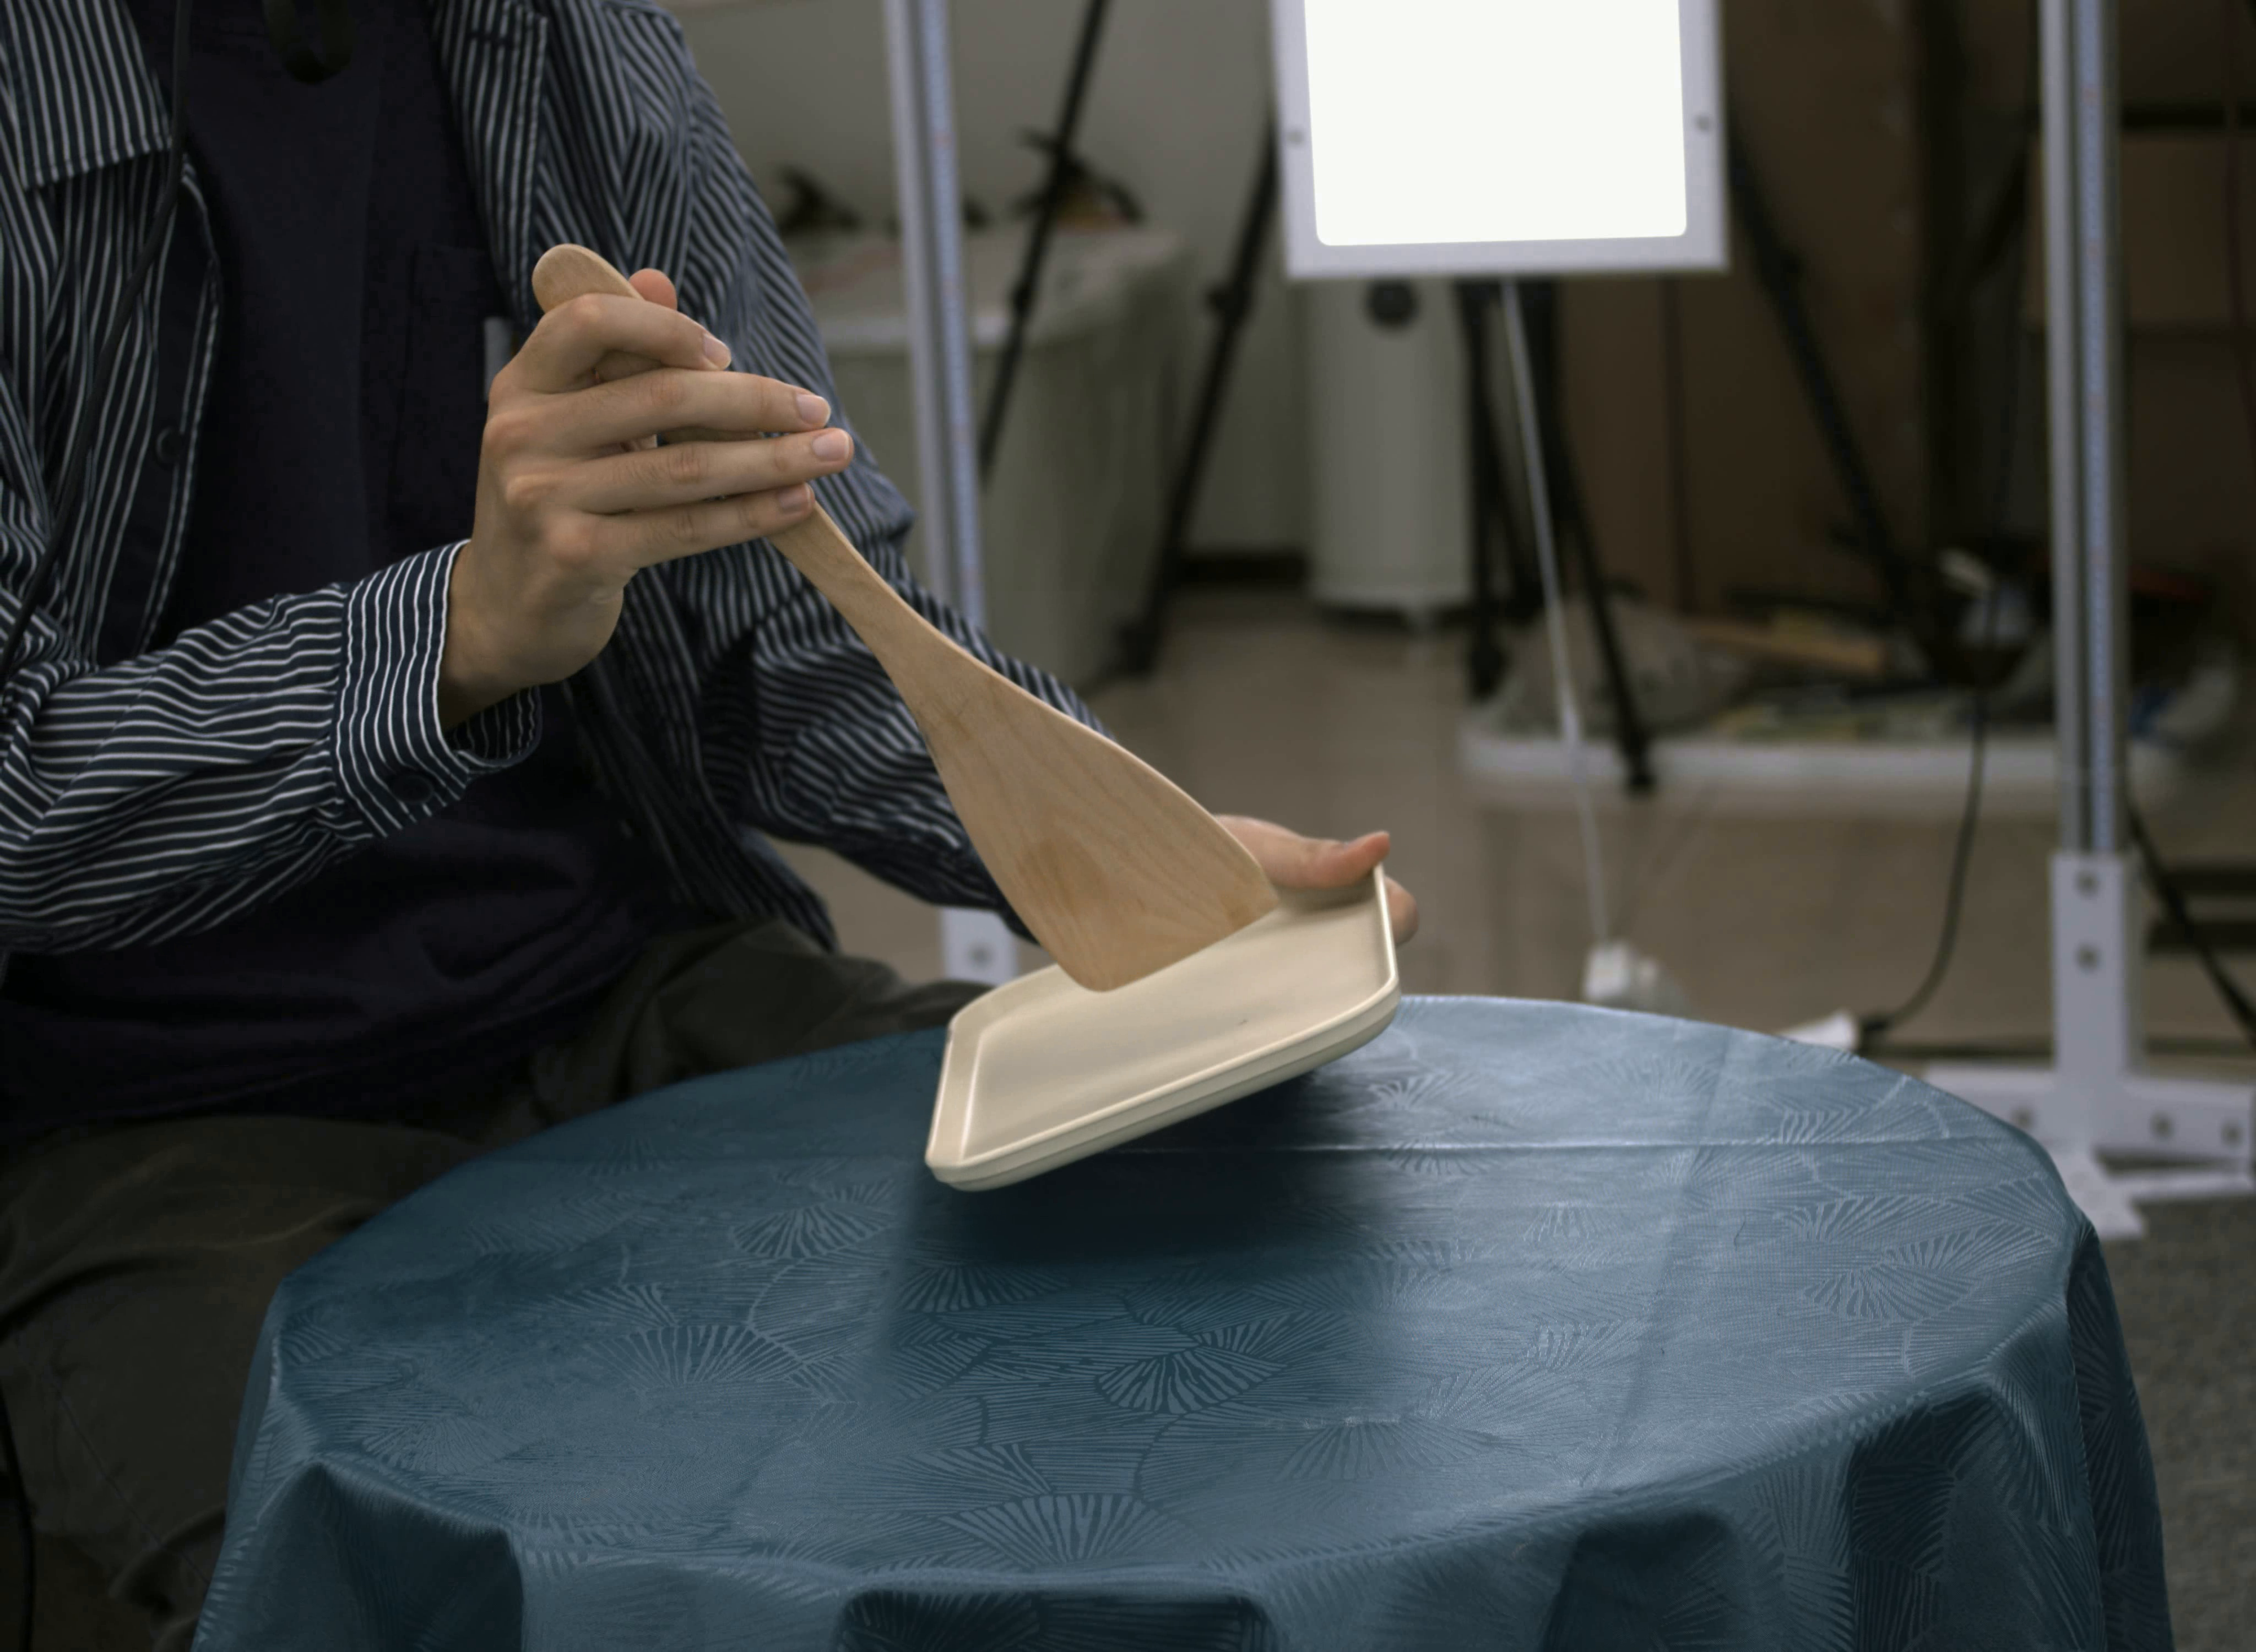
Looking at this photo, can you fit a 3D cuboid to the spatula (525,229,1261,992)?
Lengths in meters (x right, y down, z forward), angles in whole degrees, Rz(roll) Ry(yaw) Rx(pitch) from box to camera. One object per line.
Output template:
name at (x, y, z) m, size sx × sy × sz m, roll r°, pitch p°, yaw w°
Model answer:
spatula at (-0.086, -0.072, 1.834) m, size 0.081 × 0.326 × 0.016 m, roll -37°, pitch 11°, yaw 23°

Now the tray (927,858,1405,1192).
tray at (0.015, 0.068, 1.907) m, size 0.172 × 0.017 × 0.239 m, roll -21°, pitch 11°, yaw 6°
